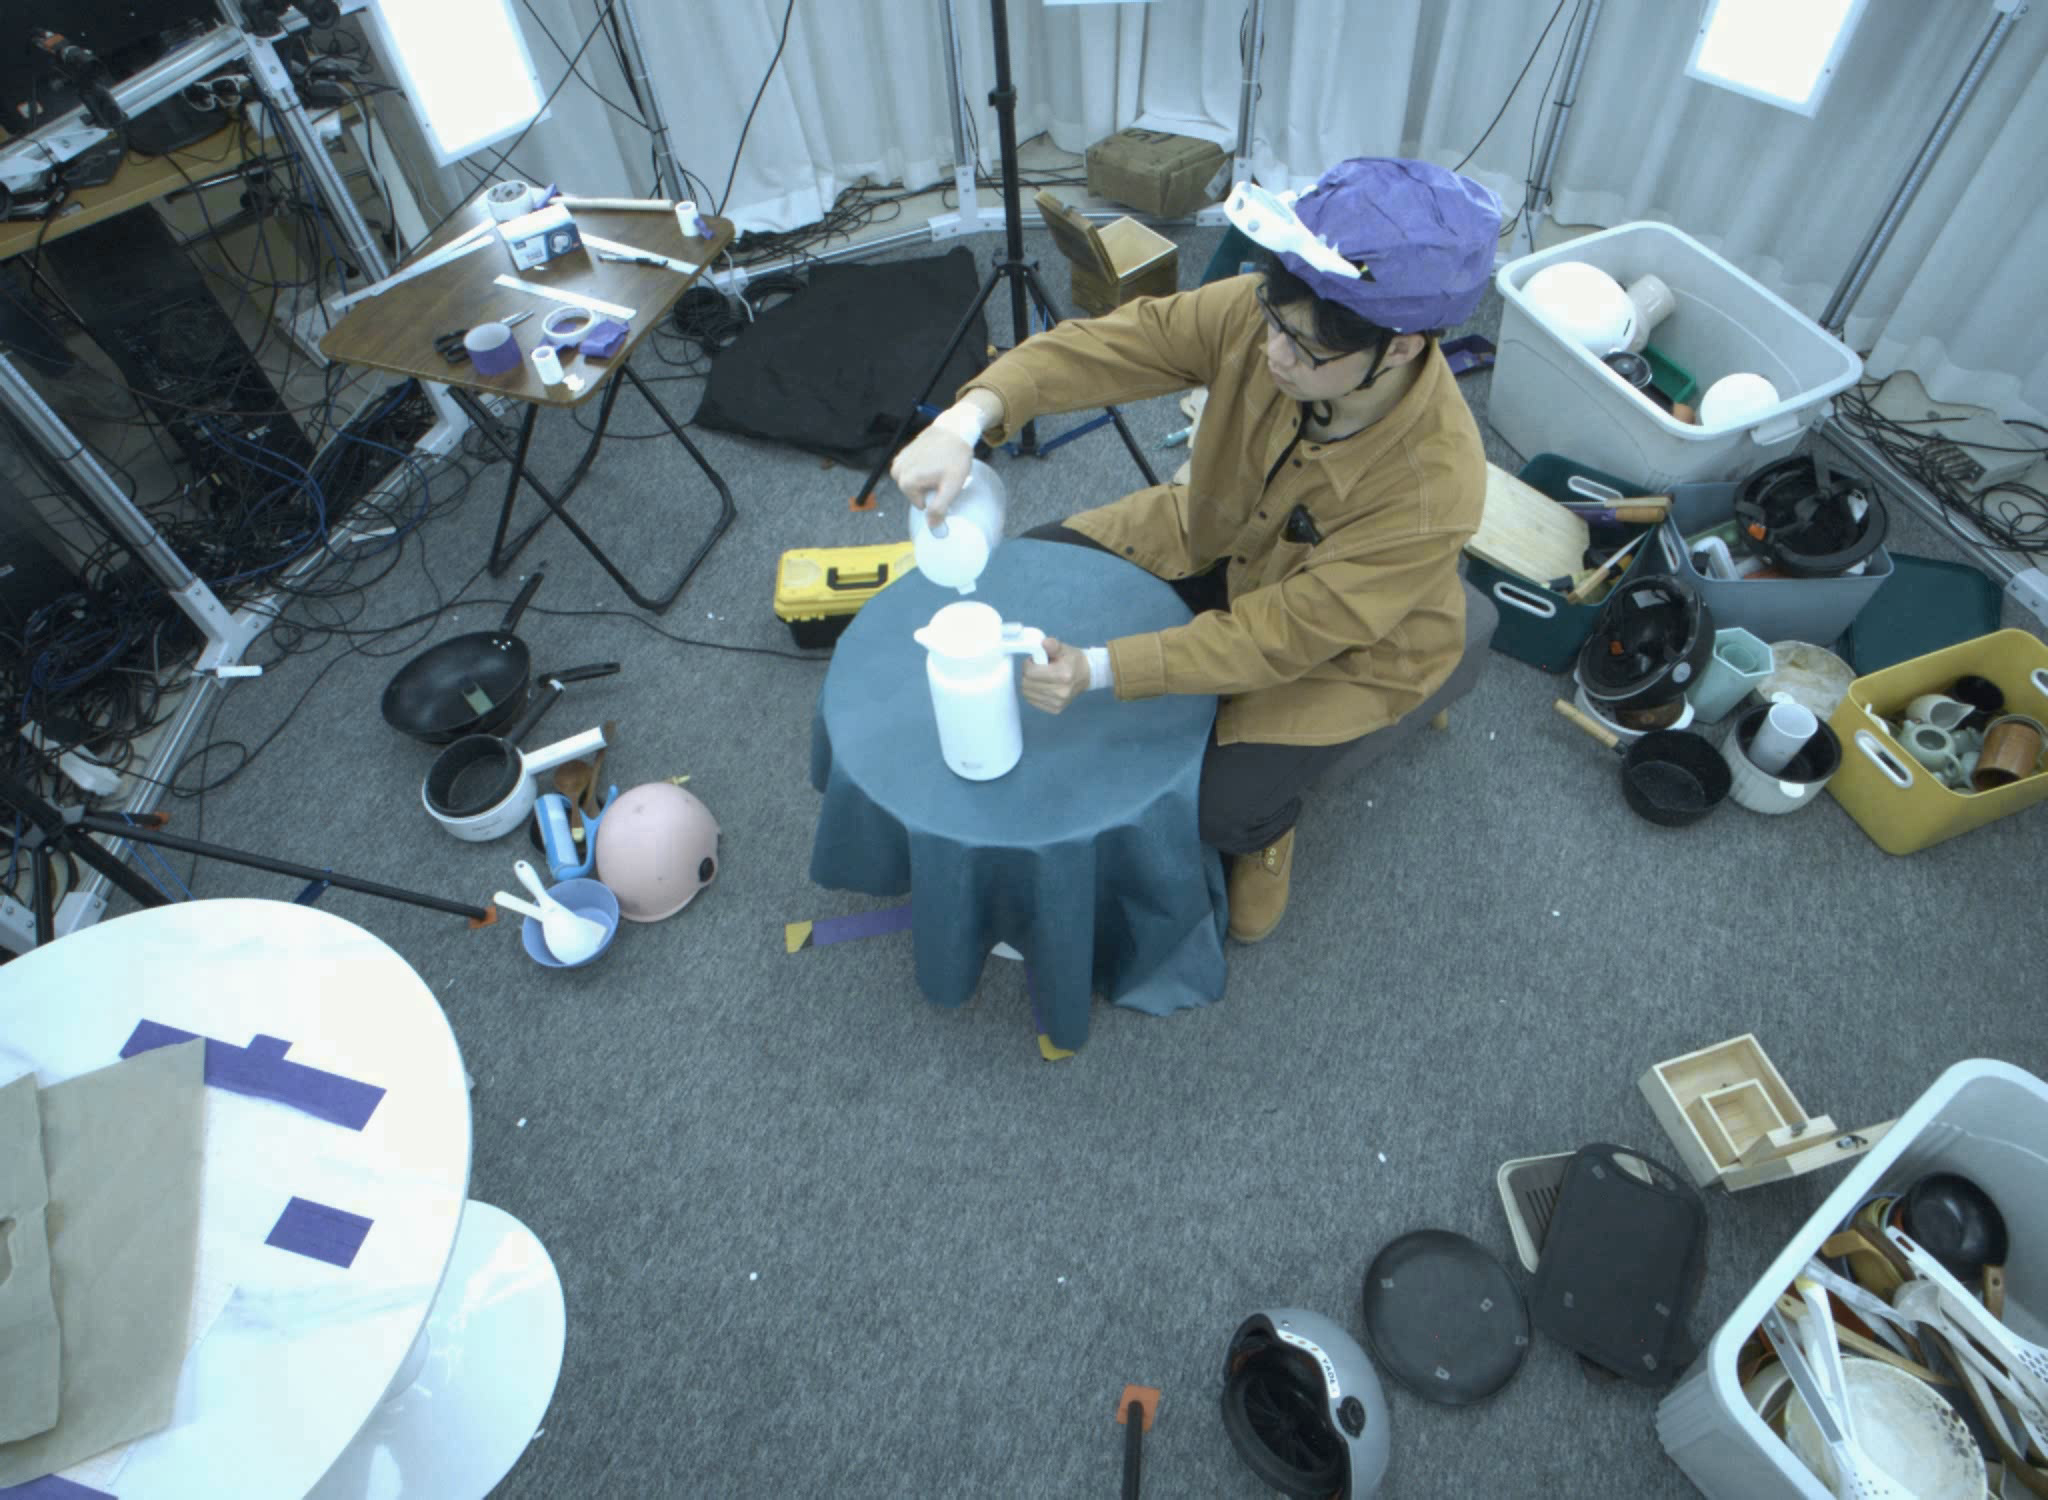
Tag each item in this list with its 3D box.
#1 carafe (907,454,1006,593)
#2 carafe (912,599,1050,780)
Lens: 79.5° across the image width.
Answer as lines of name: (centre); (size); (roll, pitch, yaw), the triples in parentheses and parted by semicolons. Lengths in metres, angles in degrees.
carafe: (-0.099, -0.312, 1.596); (0.132, 0.170, 0.246); (-18, 25, 8)
carafe: (-0.051, -0.080, 1.677); (0.173, 0.272, 0.122); (-3, 52, 1)
